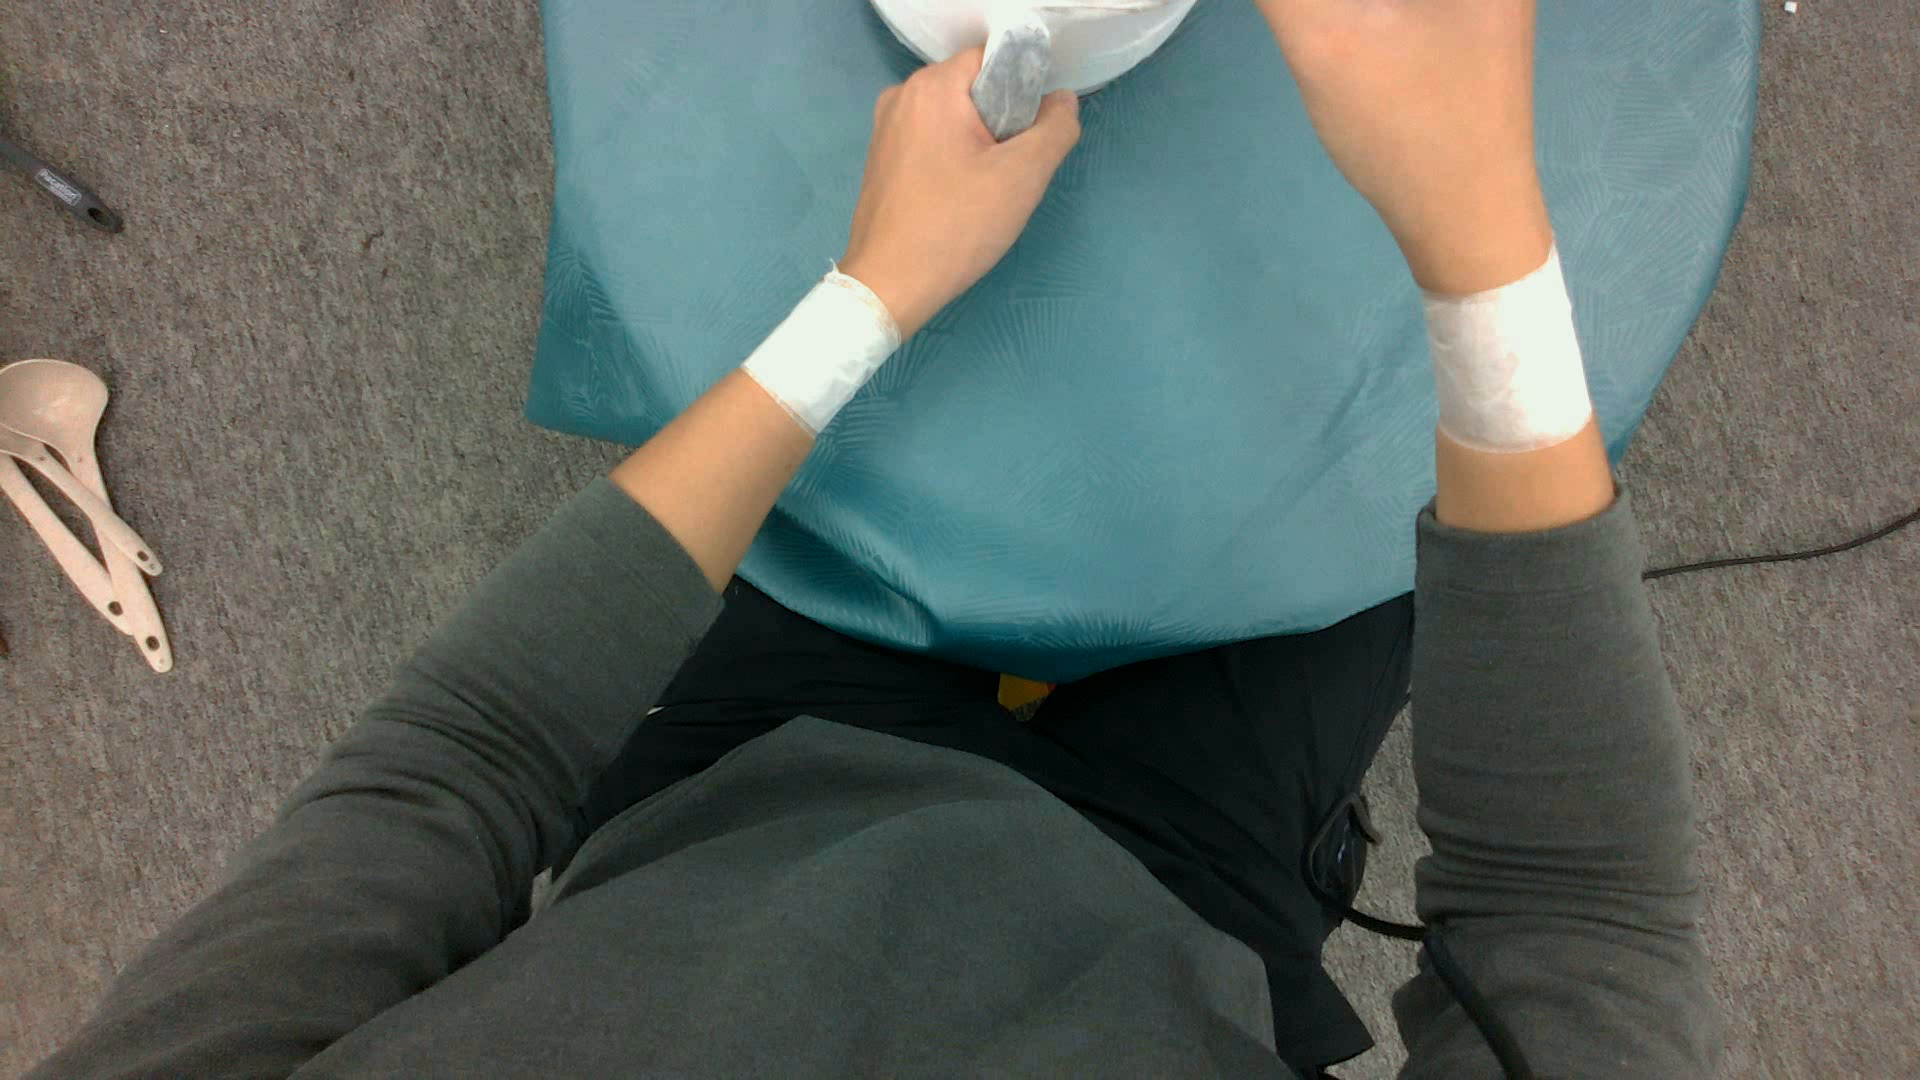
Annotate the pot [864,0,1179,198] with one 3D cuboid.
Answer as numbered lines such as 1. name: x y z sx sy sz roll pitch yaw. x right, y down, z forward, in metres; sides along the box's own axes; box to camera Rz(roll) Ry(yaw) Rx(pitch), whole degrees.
1. pot: 0.028 -0.271 0.598 0.179 0.136 0.234 12 88 -11
